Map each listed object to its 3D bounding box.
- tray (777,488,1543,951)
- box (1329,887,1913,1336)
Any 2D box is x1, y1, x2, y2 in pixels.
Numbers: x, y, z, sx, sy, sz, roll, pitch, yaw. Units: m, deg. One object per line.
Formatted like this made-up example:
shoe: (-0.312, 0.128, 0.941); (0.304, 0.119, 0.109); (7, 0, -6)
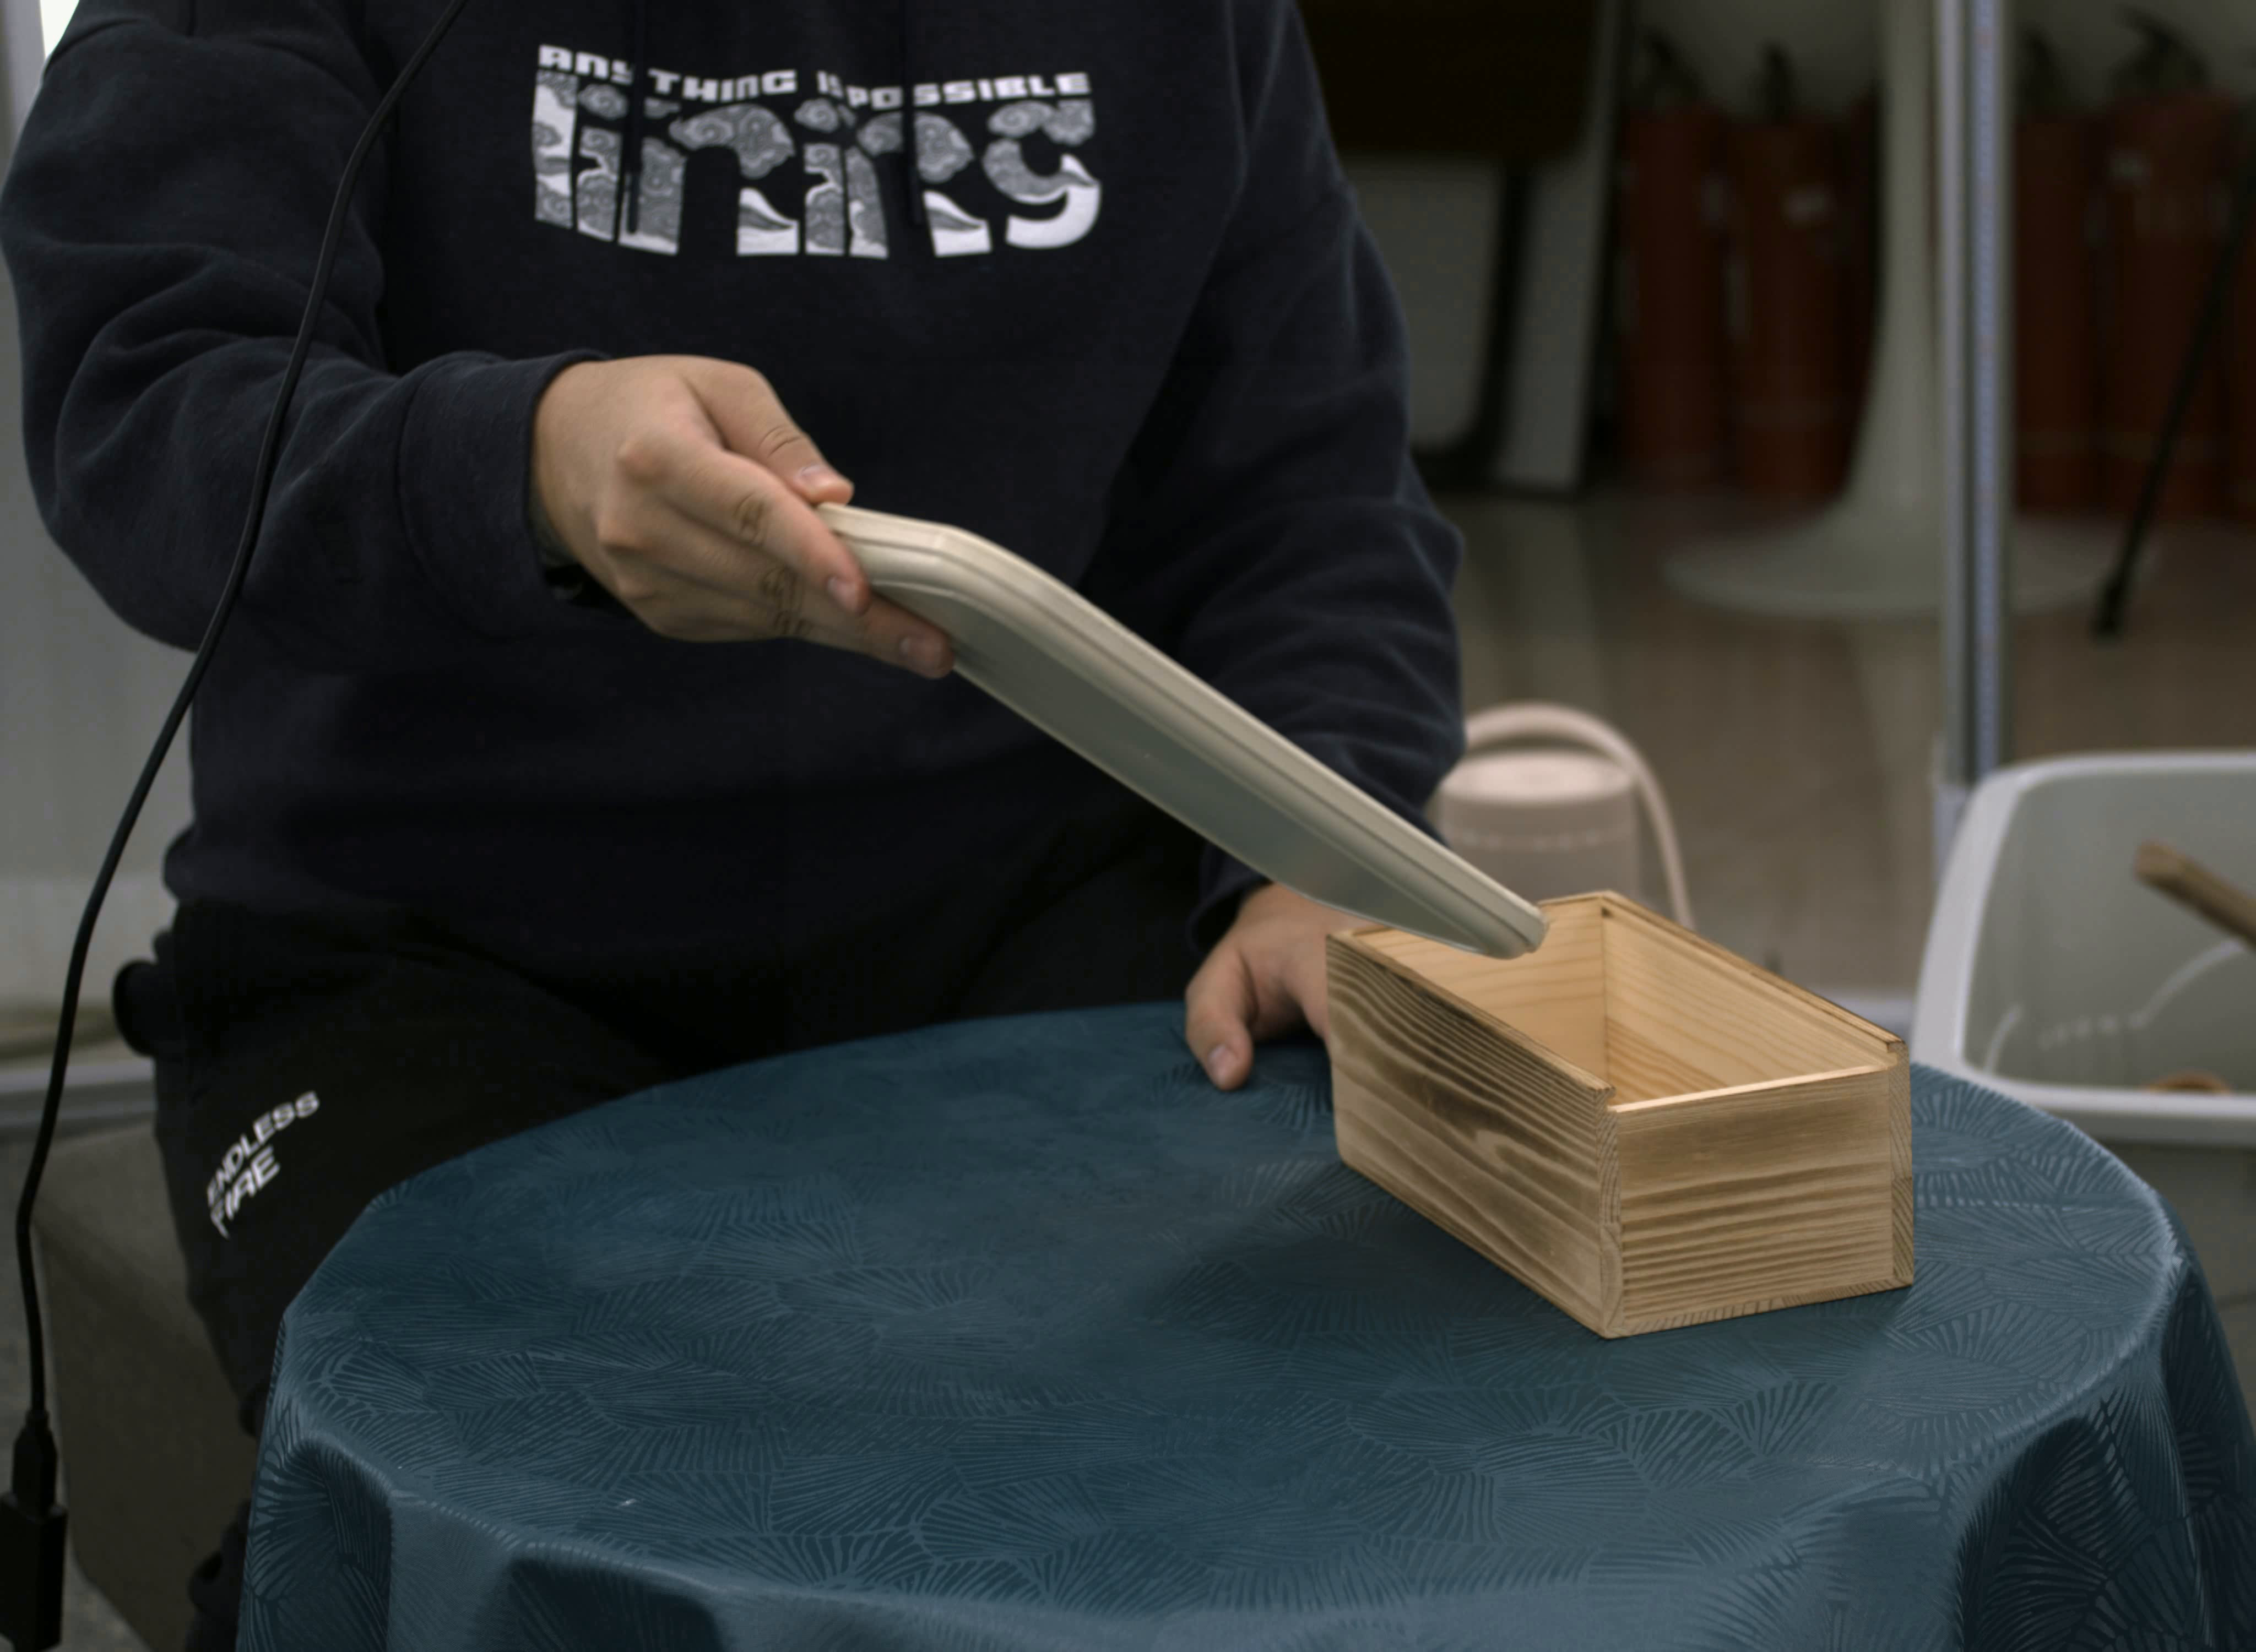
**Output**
tray: (0.007, -0.030, 1.636); (0.236, 0.017, 0.173); (33, -8, -24)
box: (0.152, 0.086, 1.705); (0.105, 0.081, 0.213); (-8, 14, -19)
